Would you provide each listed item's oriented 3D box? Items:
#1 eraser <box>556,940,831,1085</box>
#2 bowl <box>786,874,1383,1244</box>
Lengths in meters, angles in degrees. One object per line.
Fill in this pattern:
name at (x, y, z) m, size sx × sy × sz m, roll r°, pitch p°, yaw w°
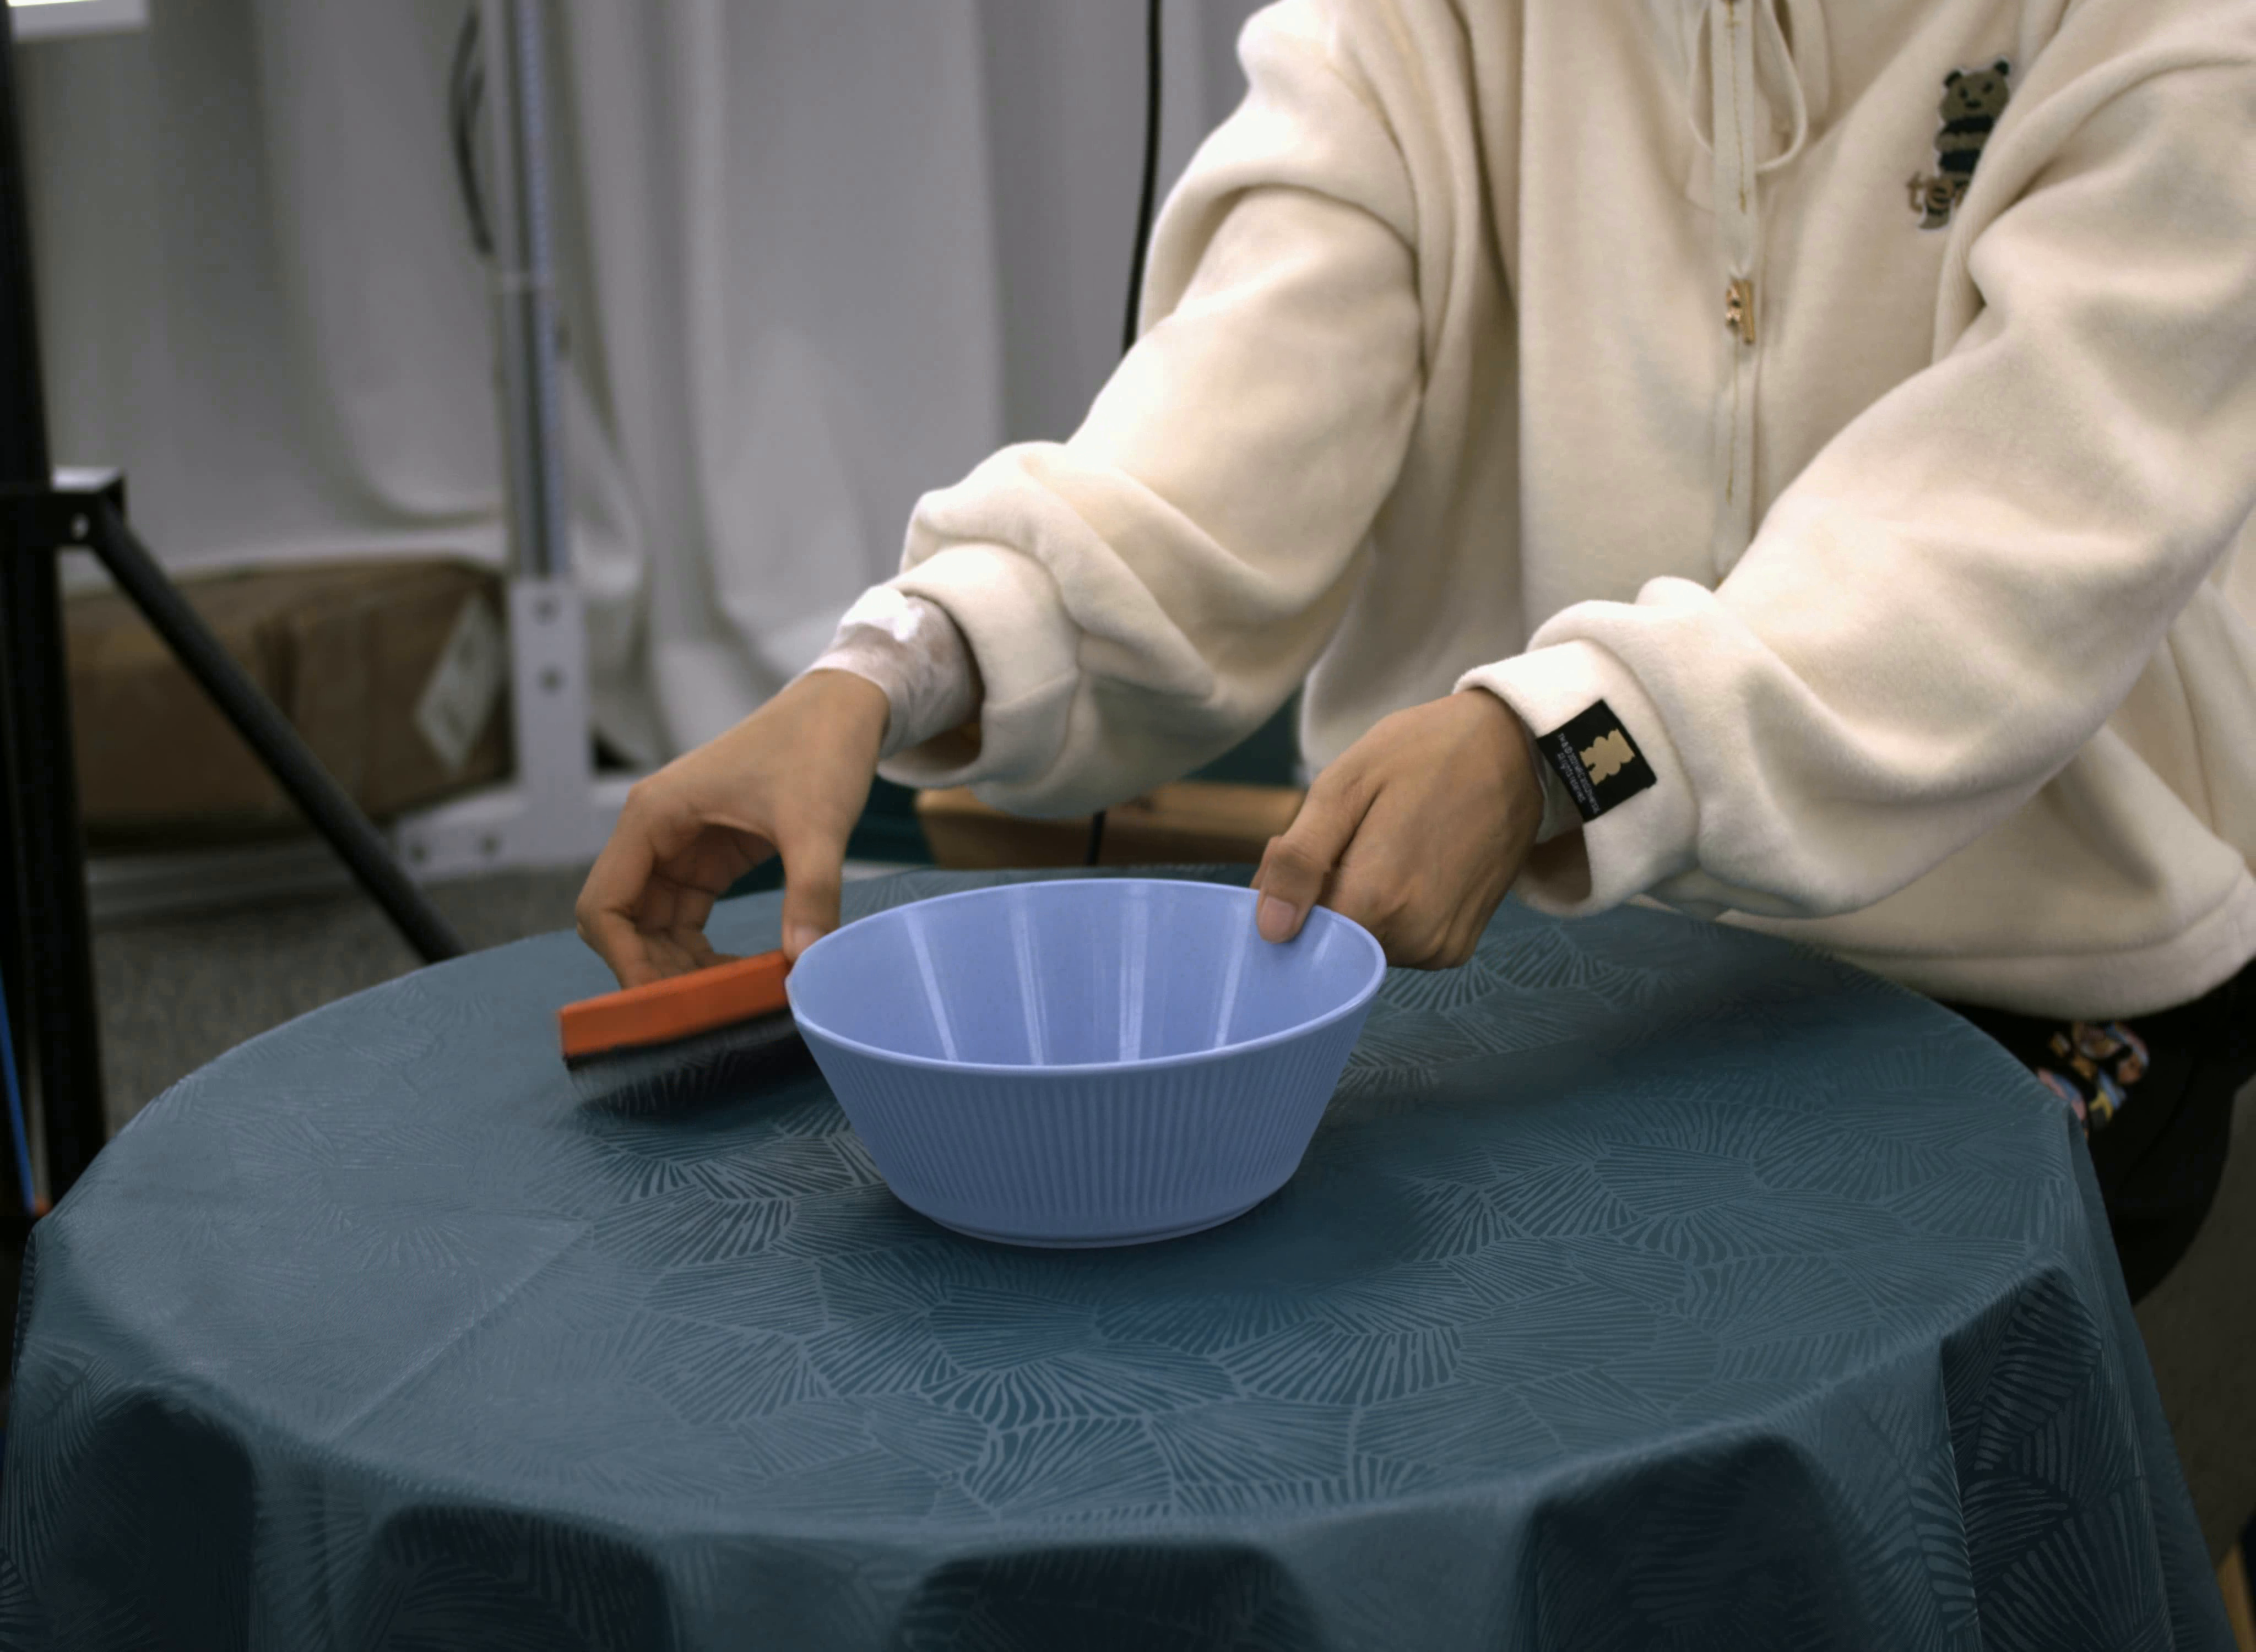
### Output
eraser at (-0.124, 0.057, 1.676) m, size 0.060 × 0.023 × 0.105 m, roll -12°, pitch 3°, yaw 45°
bowl at (-0.011, 0.071, 1.556) m, size 0.175 × 0.070 × 0.177 m, roll -3°, pitch 17°, yaw 0°
